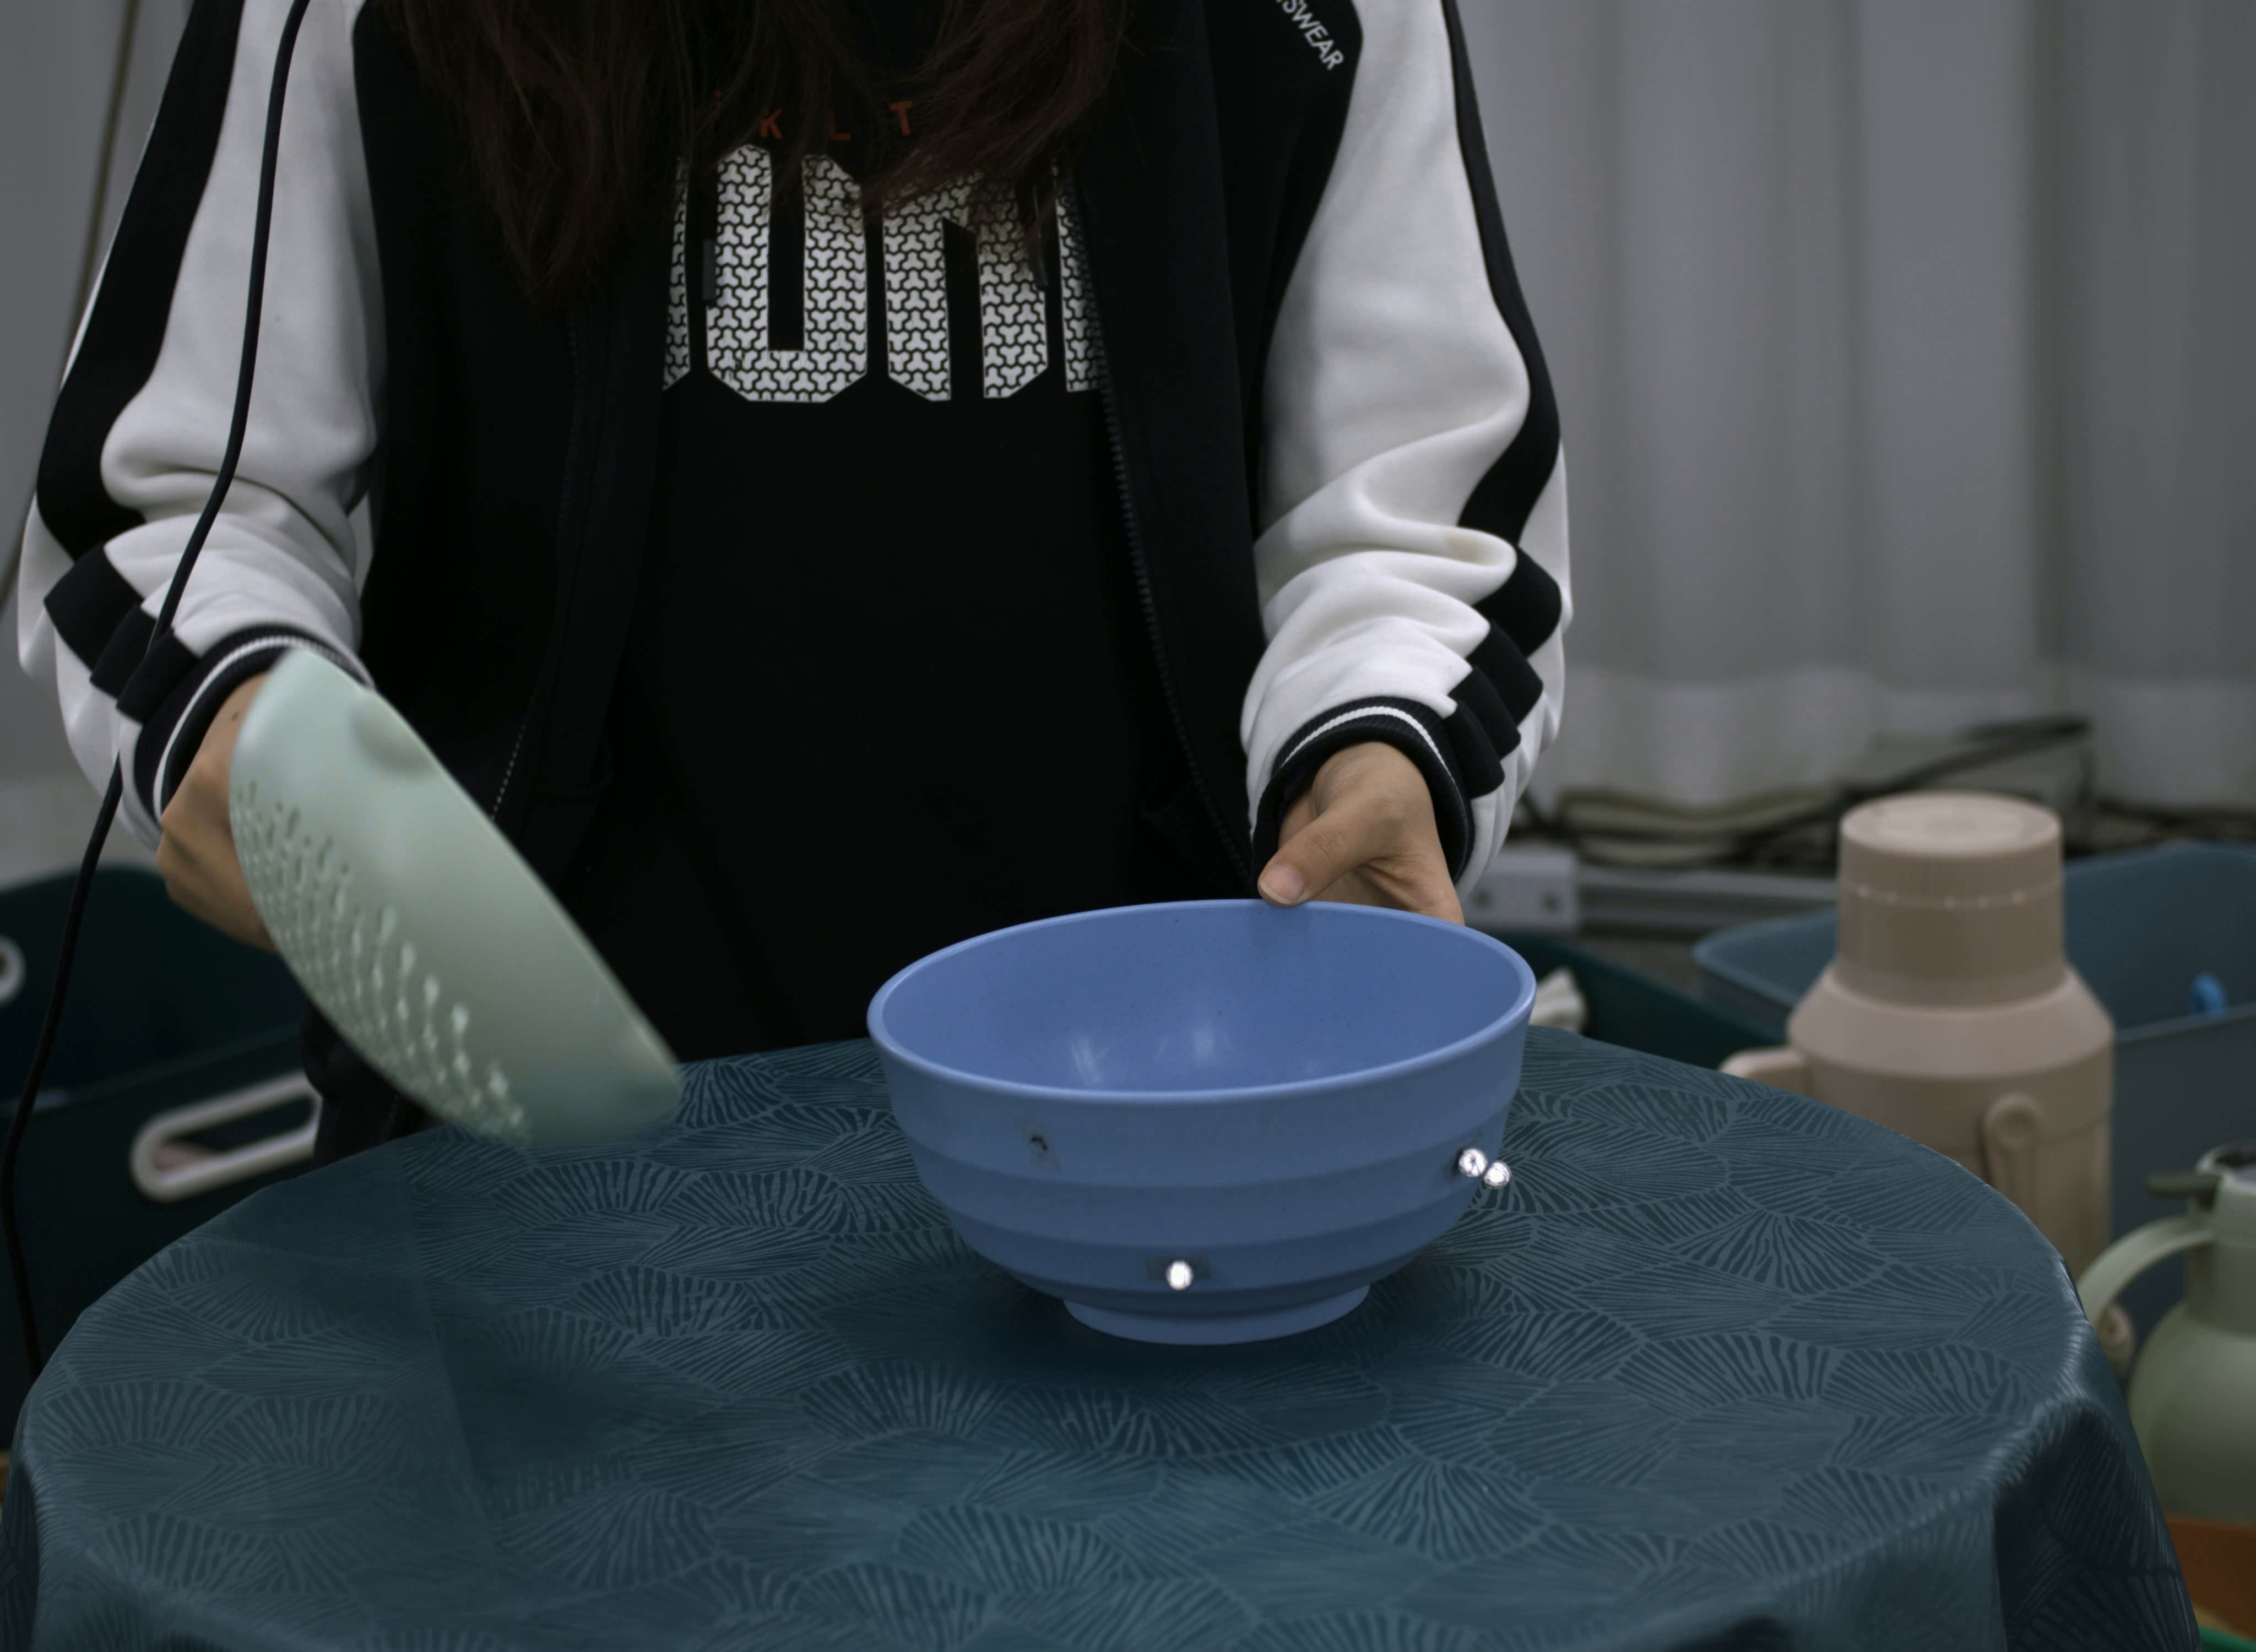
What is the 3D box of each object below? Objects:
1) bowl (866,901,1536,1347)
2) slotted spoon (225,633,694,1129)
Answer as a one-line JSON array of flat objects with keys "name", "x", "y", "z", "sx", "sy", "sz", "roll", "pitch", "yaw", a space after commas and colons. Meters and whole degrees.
[{"name": "bowl", "x": 0.024, "y": 0.093, "z": 1.608, "sx": 0.196, "sy": 0.095, "sz": 0.198, "roll": -3, "pitch": 14, "yaw": 1}, {"name": "slotted spoon", "x": -0.219, "y": 0.015, "z": 1.620, "sx": 0.075, "sy": 0.168, "sz": 0.360, "roll": -39, "pitch": 13, "yaw": -5}]
